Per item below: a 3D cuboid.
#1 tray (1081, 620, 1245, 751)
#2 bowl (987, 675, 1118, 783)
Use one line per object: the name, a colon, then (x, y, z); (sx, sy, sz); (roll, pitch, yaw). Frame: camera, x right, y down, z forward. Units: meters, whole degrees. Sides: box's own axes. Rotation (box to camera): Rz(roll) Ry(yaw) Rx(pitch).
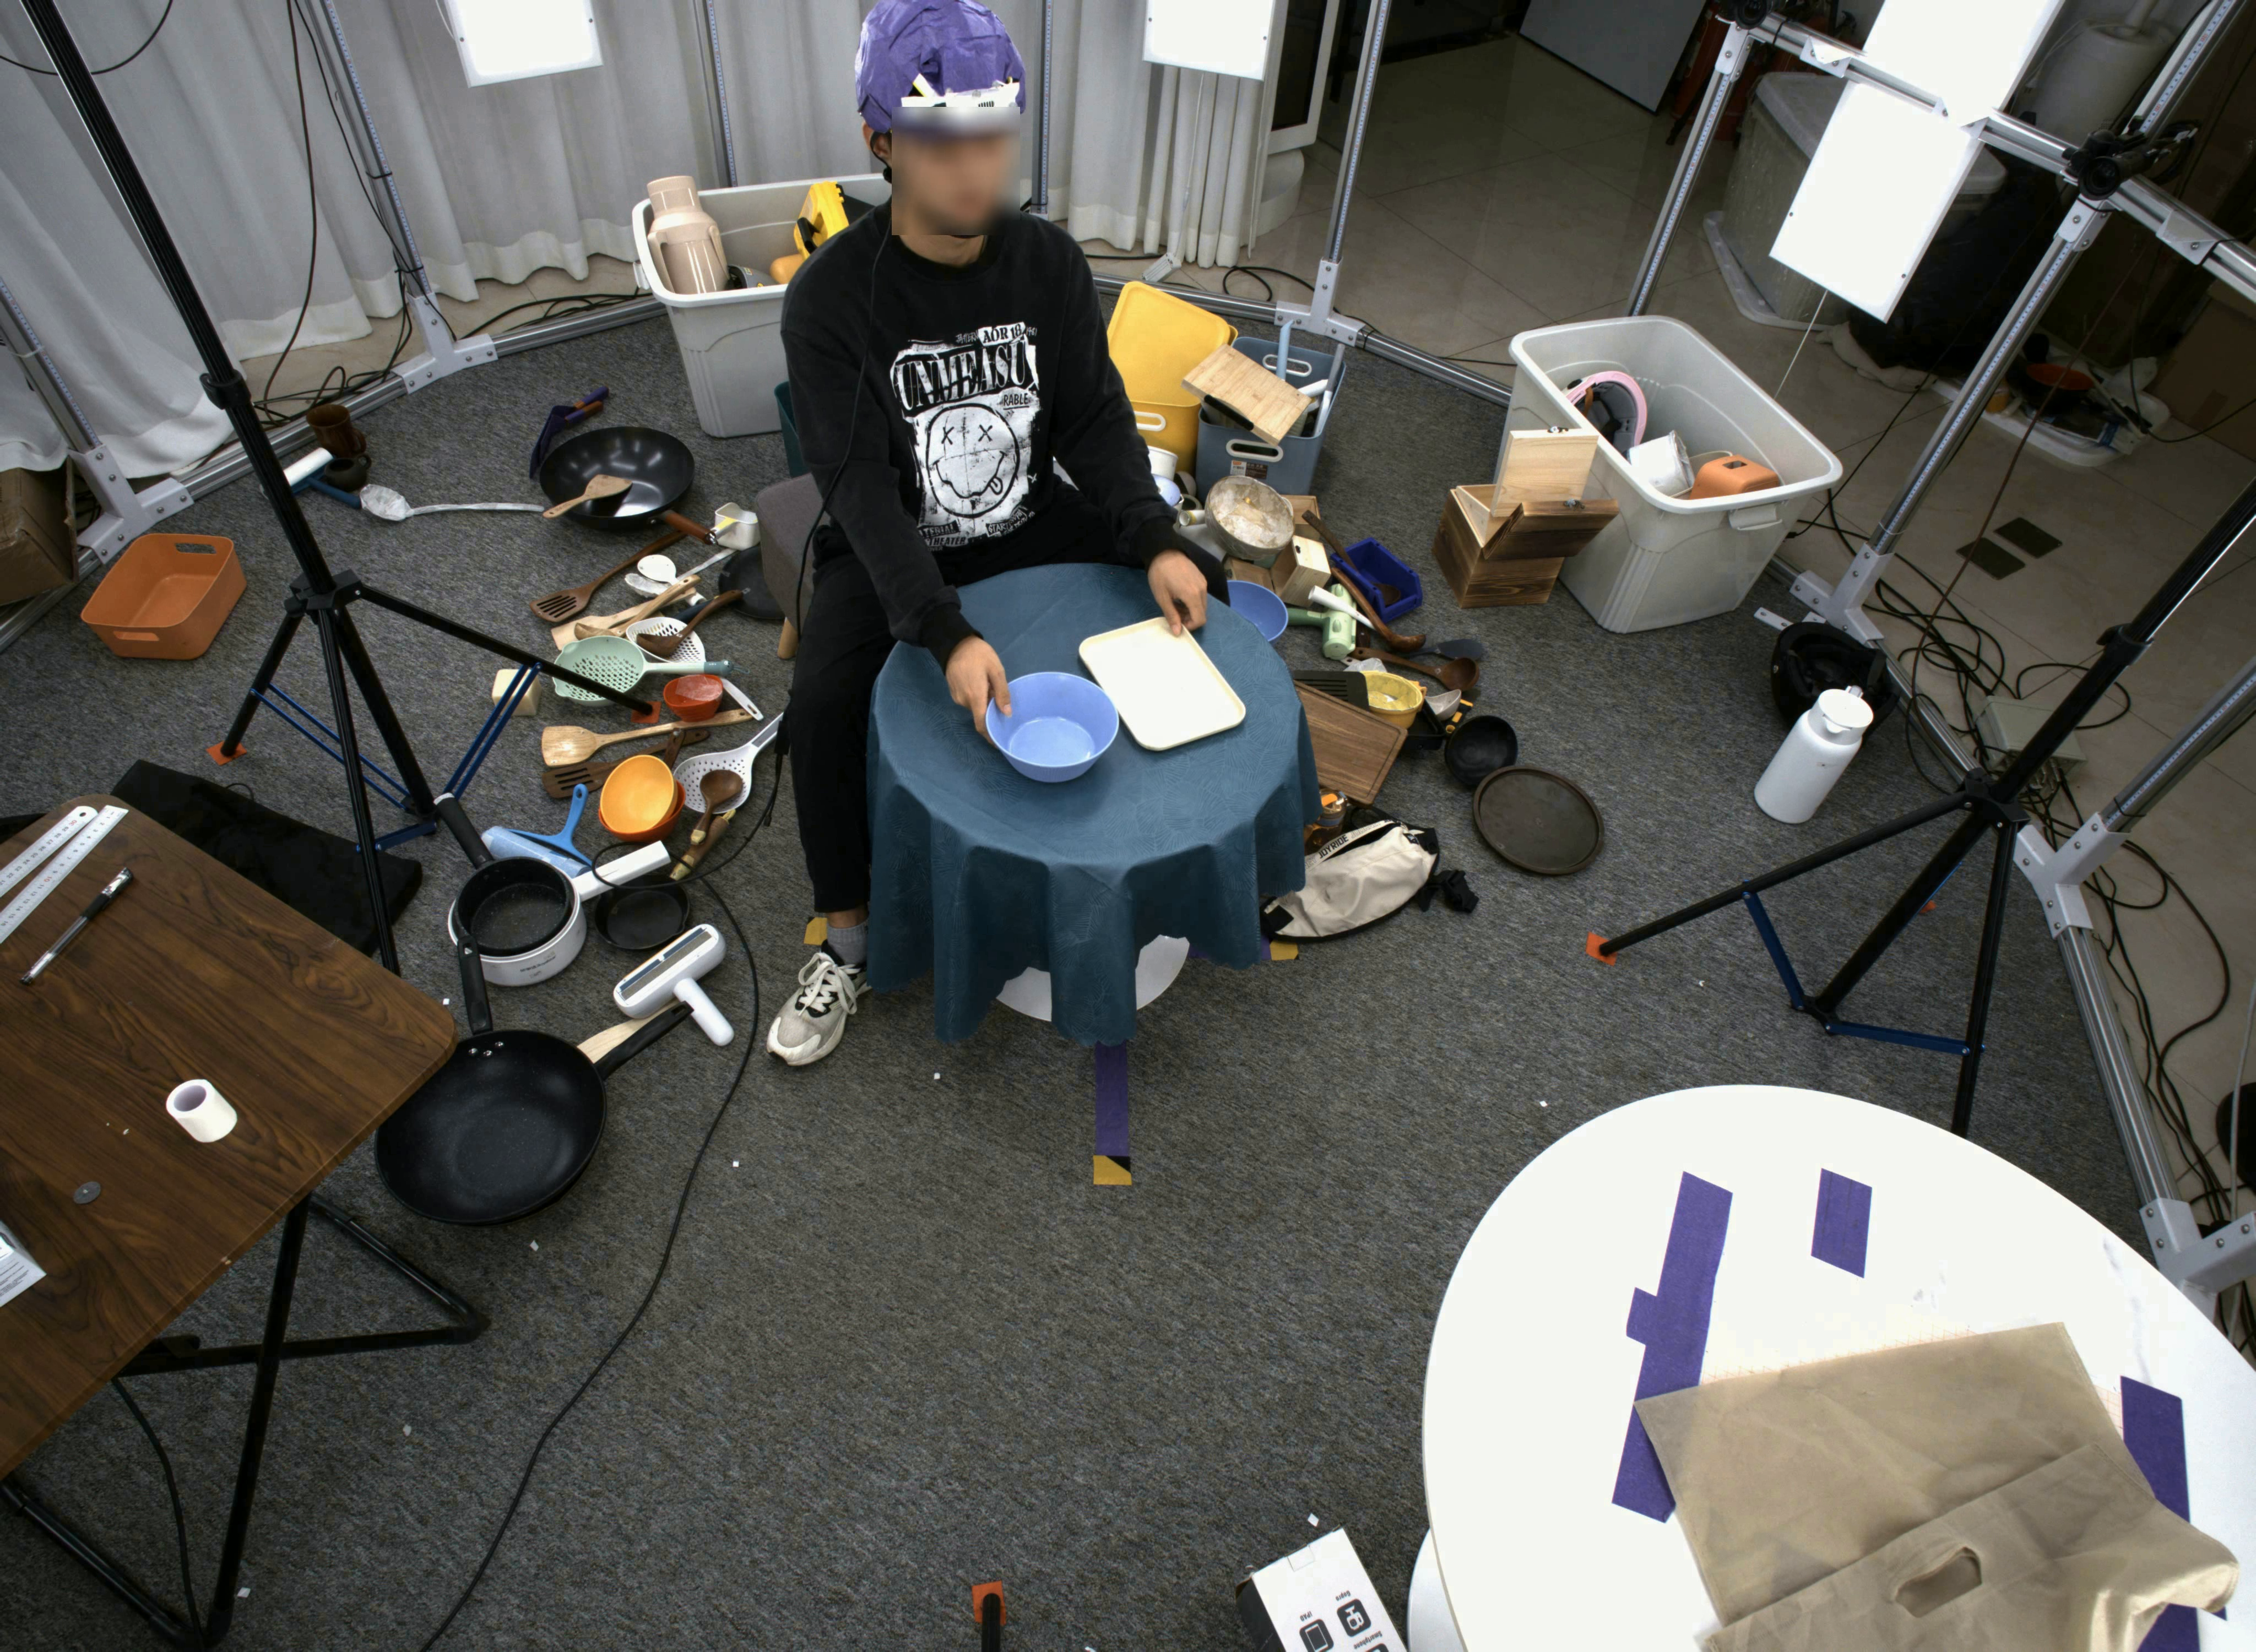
tray: (0.048, -0.204, 1.854); (0.171, 0.017, 0.245); (-18, 52, -19)
bowl: (-0.103, -0.122, 1.737); (0.176, 0.068, 0.180); (2, 48, -3)
